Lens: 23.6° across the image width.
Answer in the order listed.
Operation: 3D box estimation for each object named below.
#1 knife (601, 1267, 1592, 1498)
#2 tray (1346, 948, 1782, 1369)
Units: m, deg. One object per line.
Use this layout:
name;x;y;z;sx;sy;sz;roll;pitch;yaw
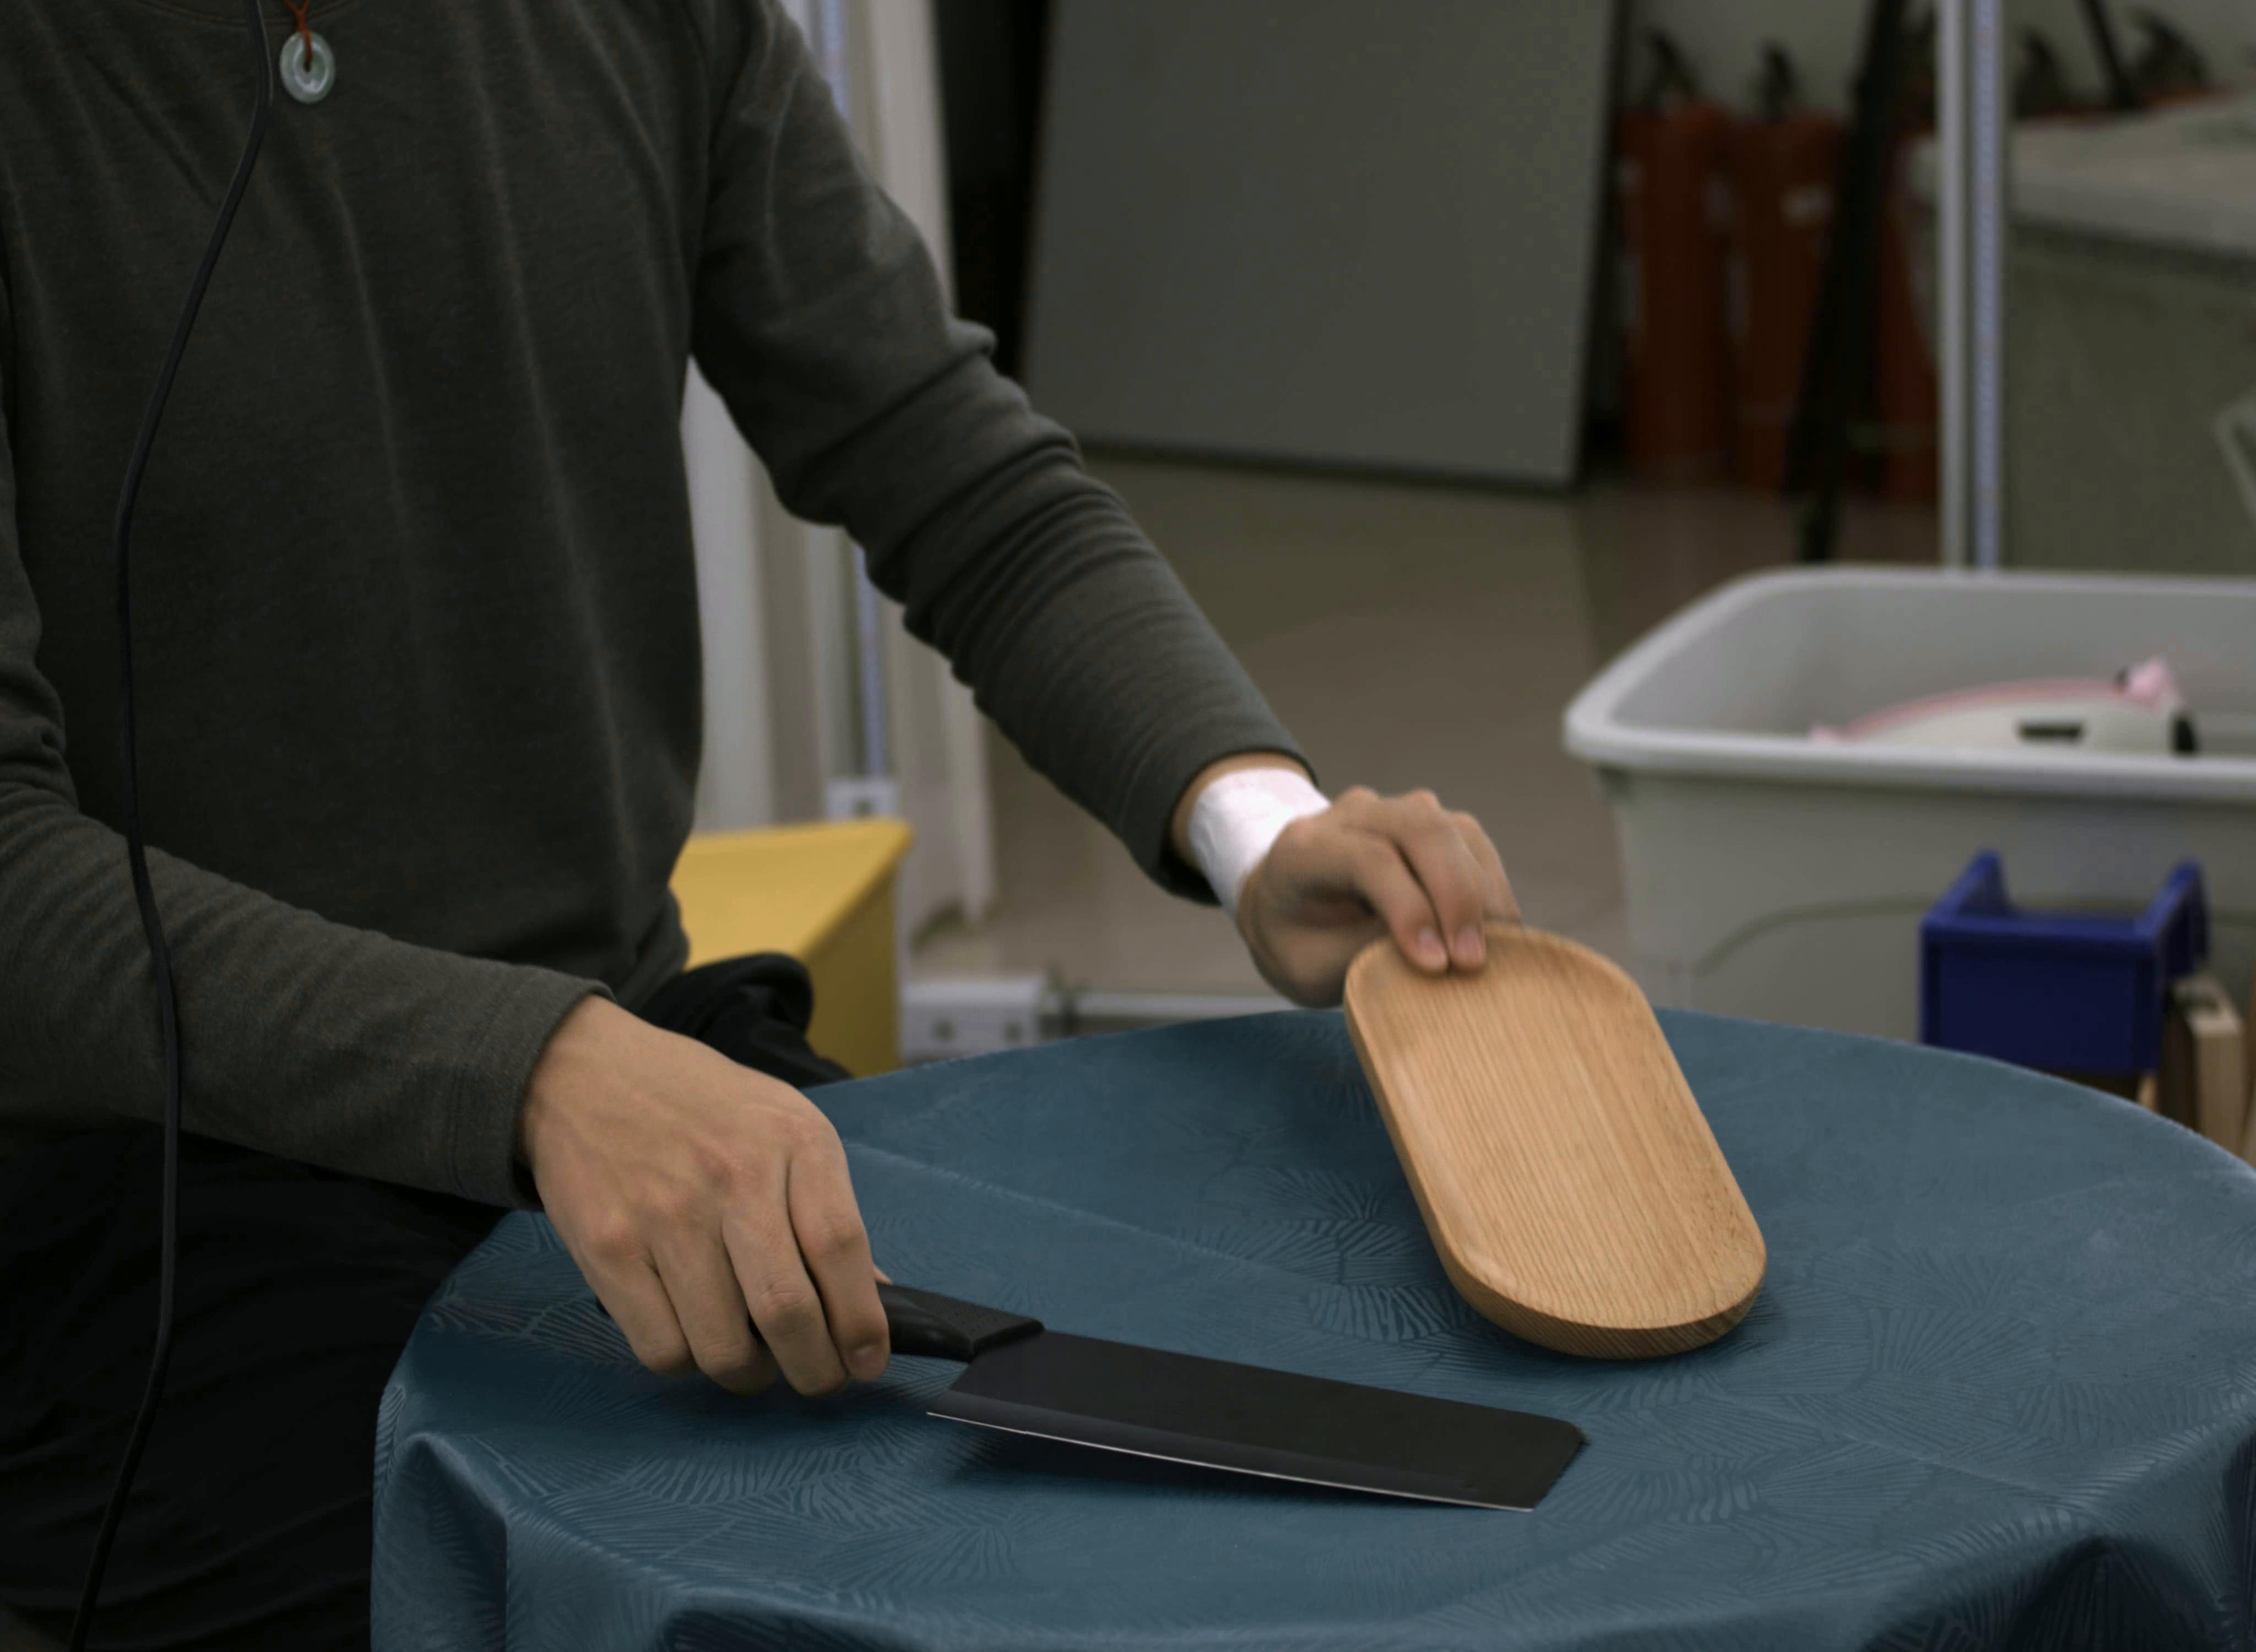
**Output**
knife;-0.015;0.161;1.550;0.302;0.021;0.080;8;18;24
tray;0.132;0.100;1.670;0.100;0.020;0.233;-3;30;-11
